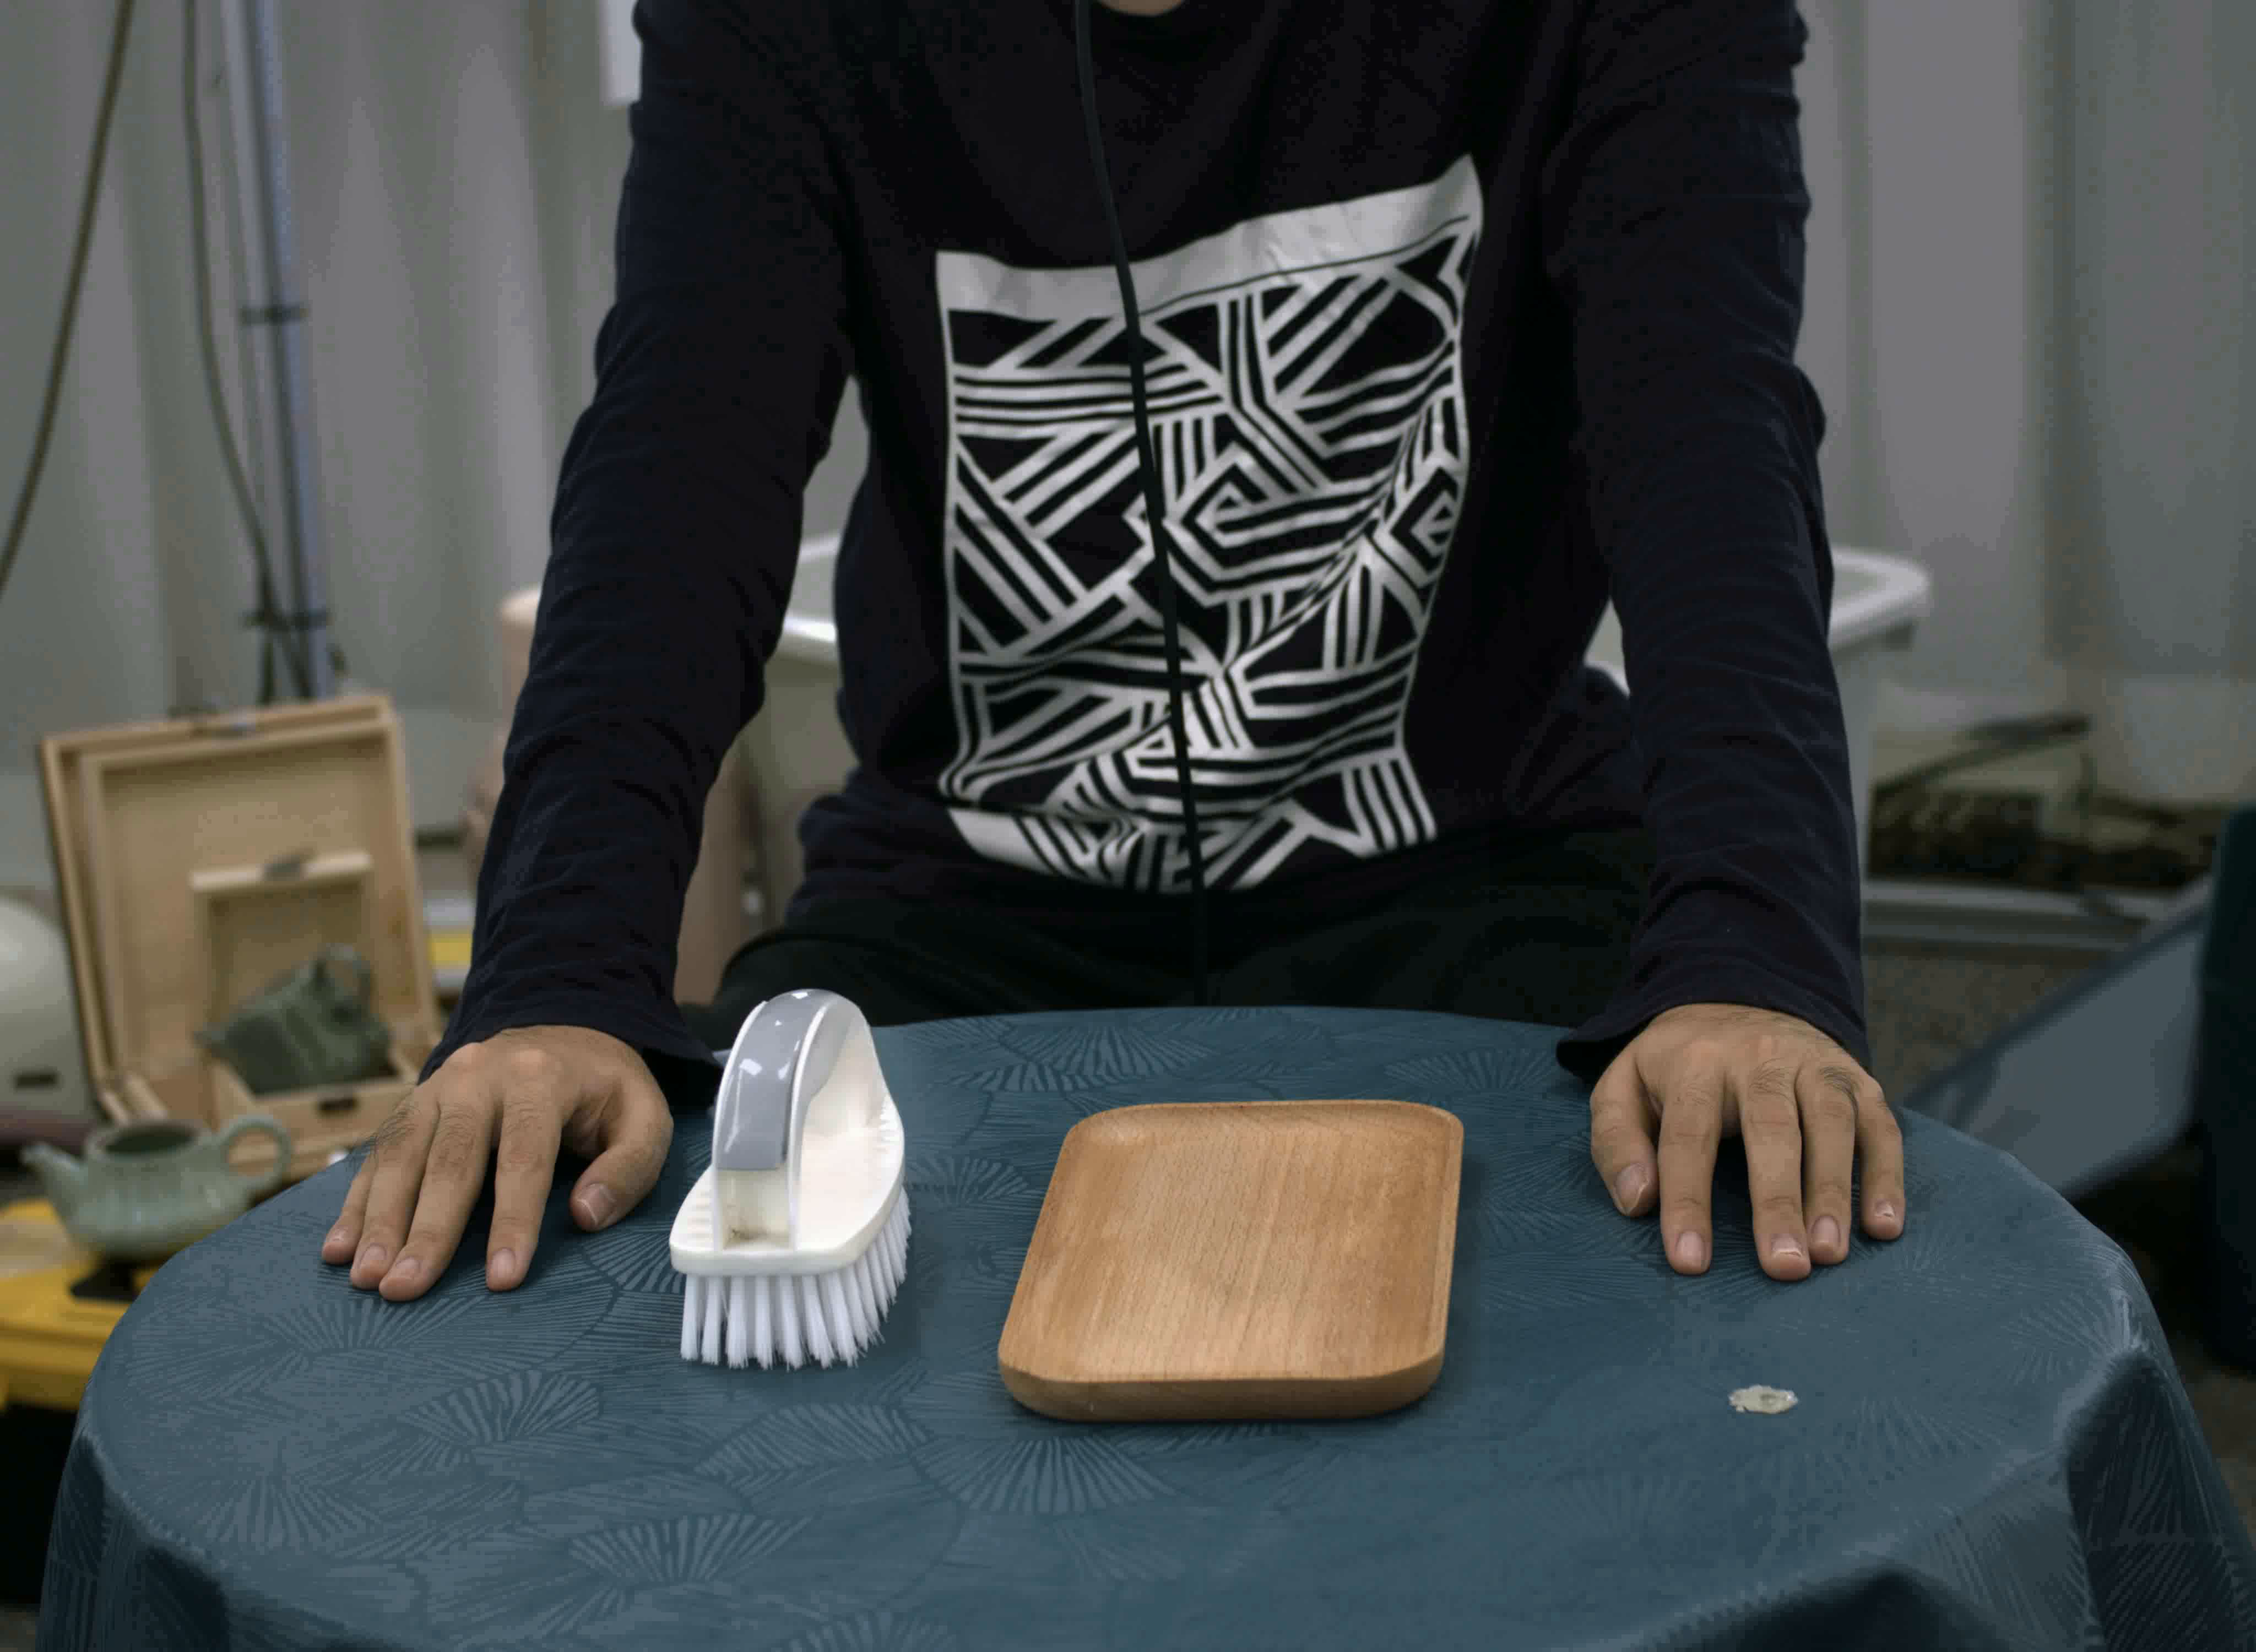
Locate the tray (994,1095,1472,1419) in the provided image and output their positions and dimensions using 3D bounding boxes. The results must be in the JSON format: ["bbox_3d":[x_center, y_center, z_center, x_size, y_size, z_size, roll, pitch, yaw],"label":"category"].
[{"bbox_3d":[0.035,0.126,1.633,0.130,0.023,0.252,1,14,6],"label":"tray"}]

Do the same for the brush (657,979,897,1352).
[{"bbox_3d":[-0.099,0.091,1.647,0.061,0.094,0.176,1,13,8],"label":"brush"}]
